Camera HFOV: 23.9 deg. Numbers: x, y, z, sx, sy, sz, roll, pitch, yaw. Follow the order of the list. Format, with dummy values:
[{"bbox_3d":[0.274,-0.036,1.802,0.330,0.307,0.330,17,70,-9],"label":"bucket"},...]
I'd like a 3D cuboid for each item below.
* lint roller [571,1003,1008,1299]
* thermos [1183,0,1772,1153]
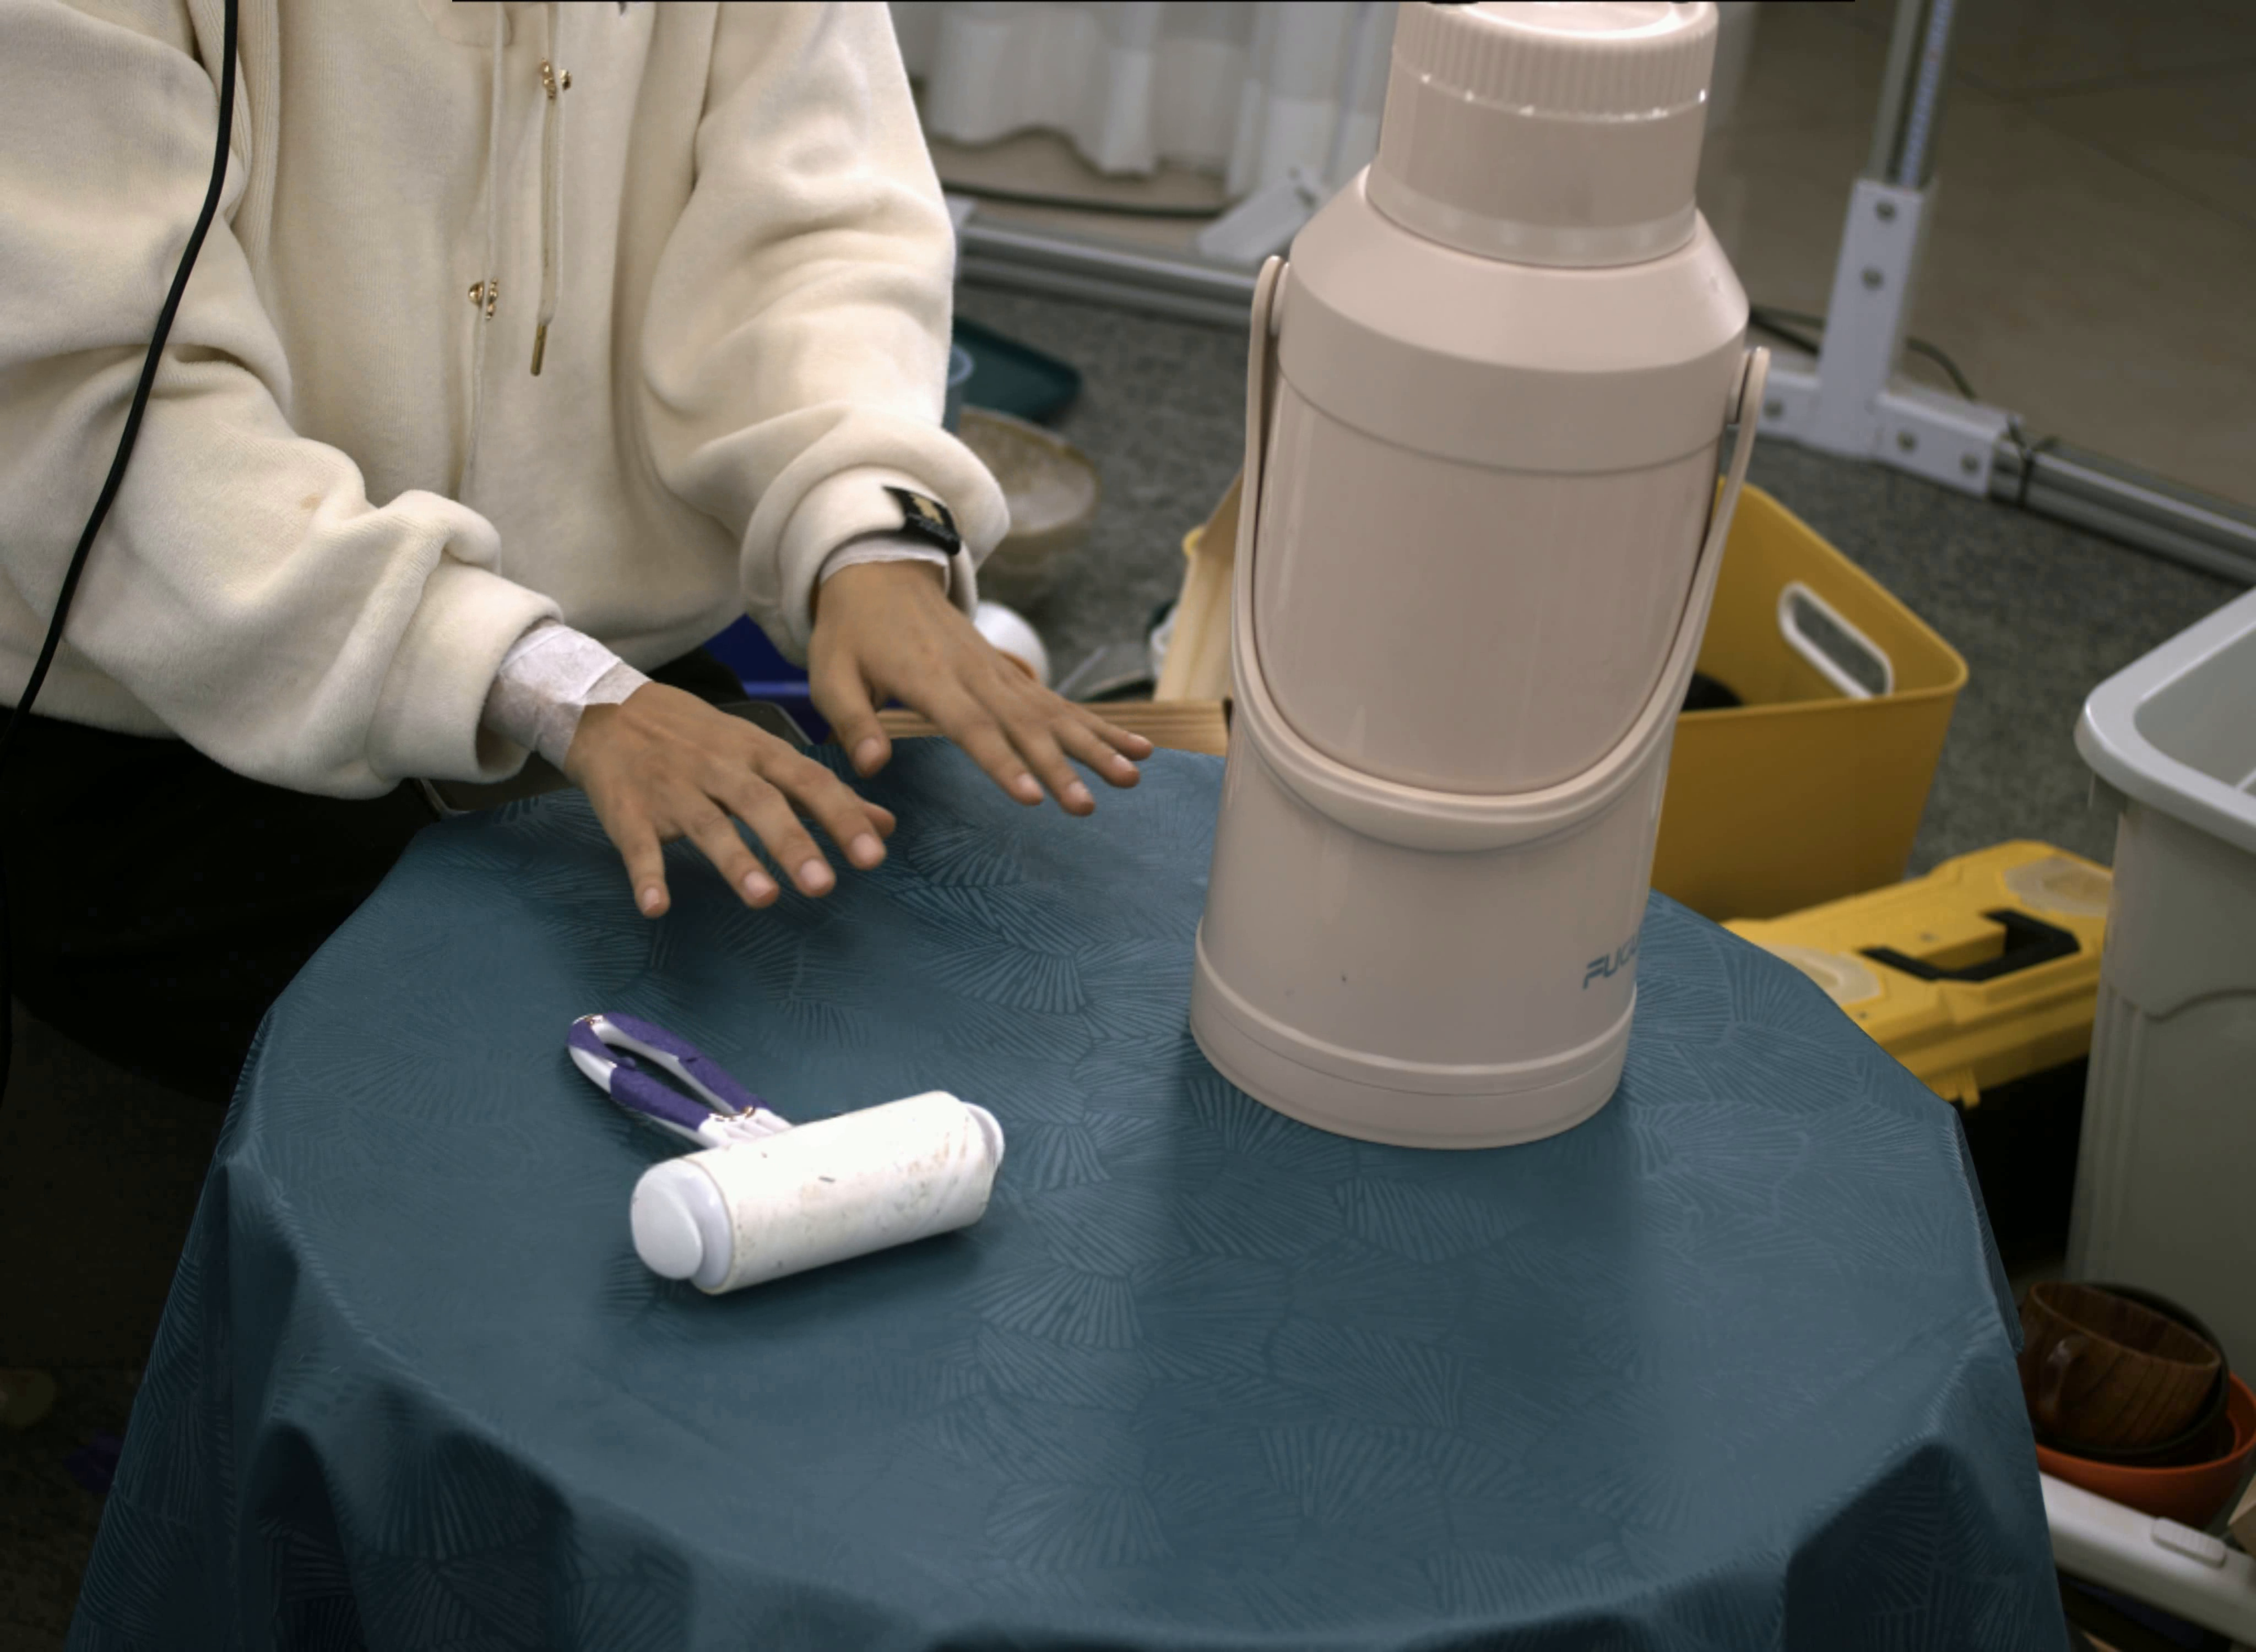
[{"bbox_3d":[-0.133,0.090,1.784,0.132,0.050,0.182,-12,35,-31],"label":"lint roller"},{"bbox_3d":[0.125,-0.103,1.840,0.175,0.405,0.207,11,26,10],"label":"thermos"}]
